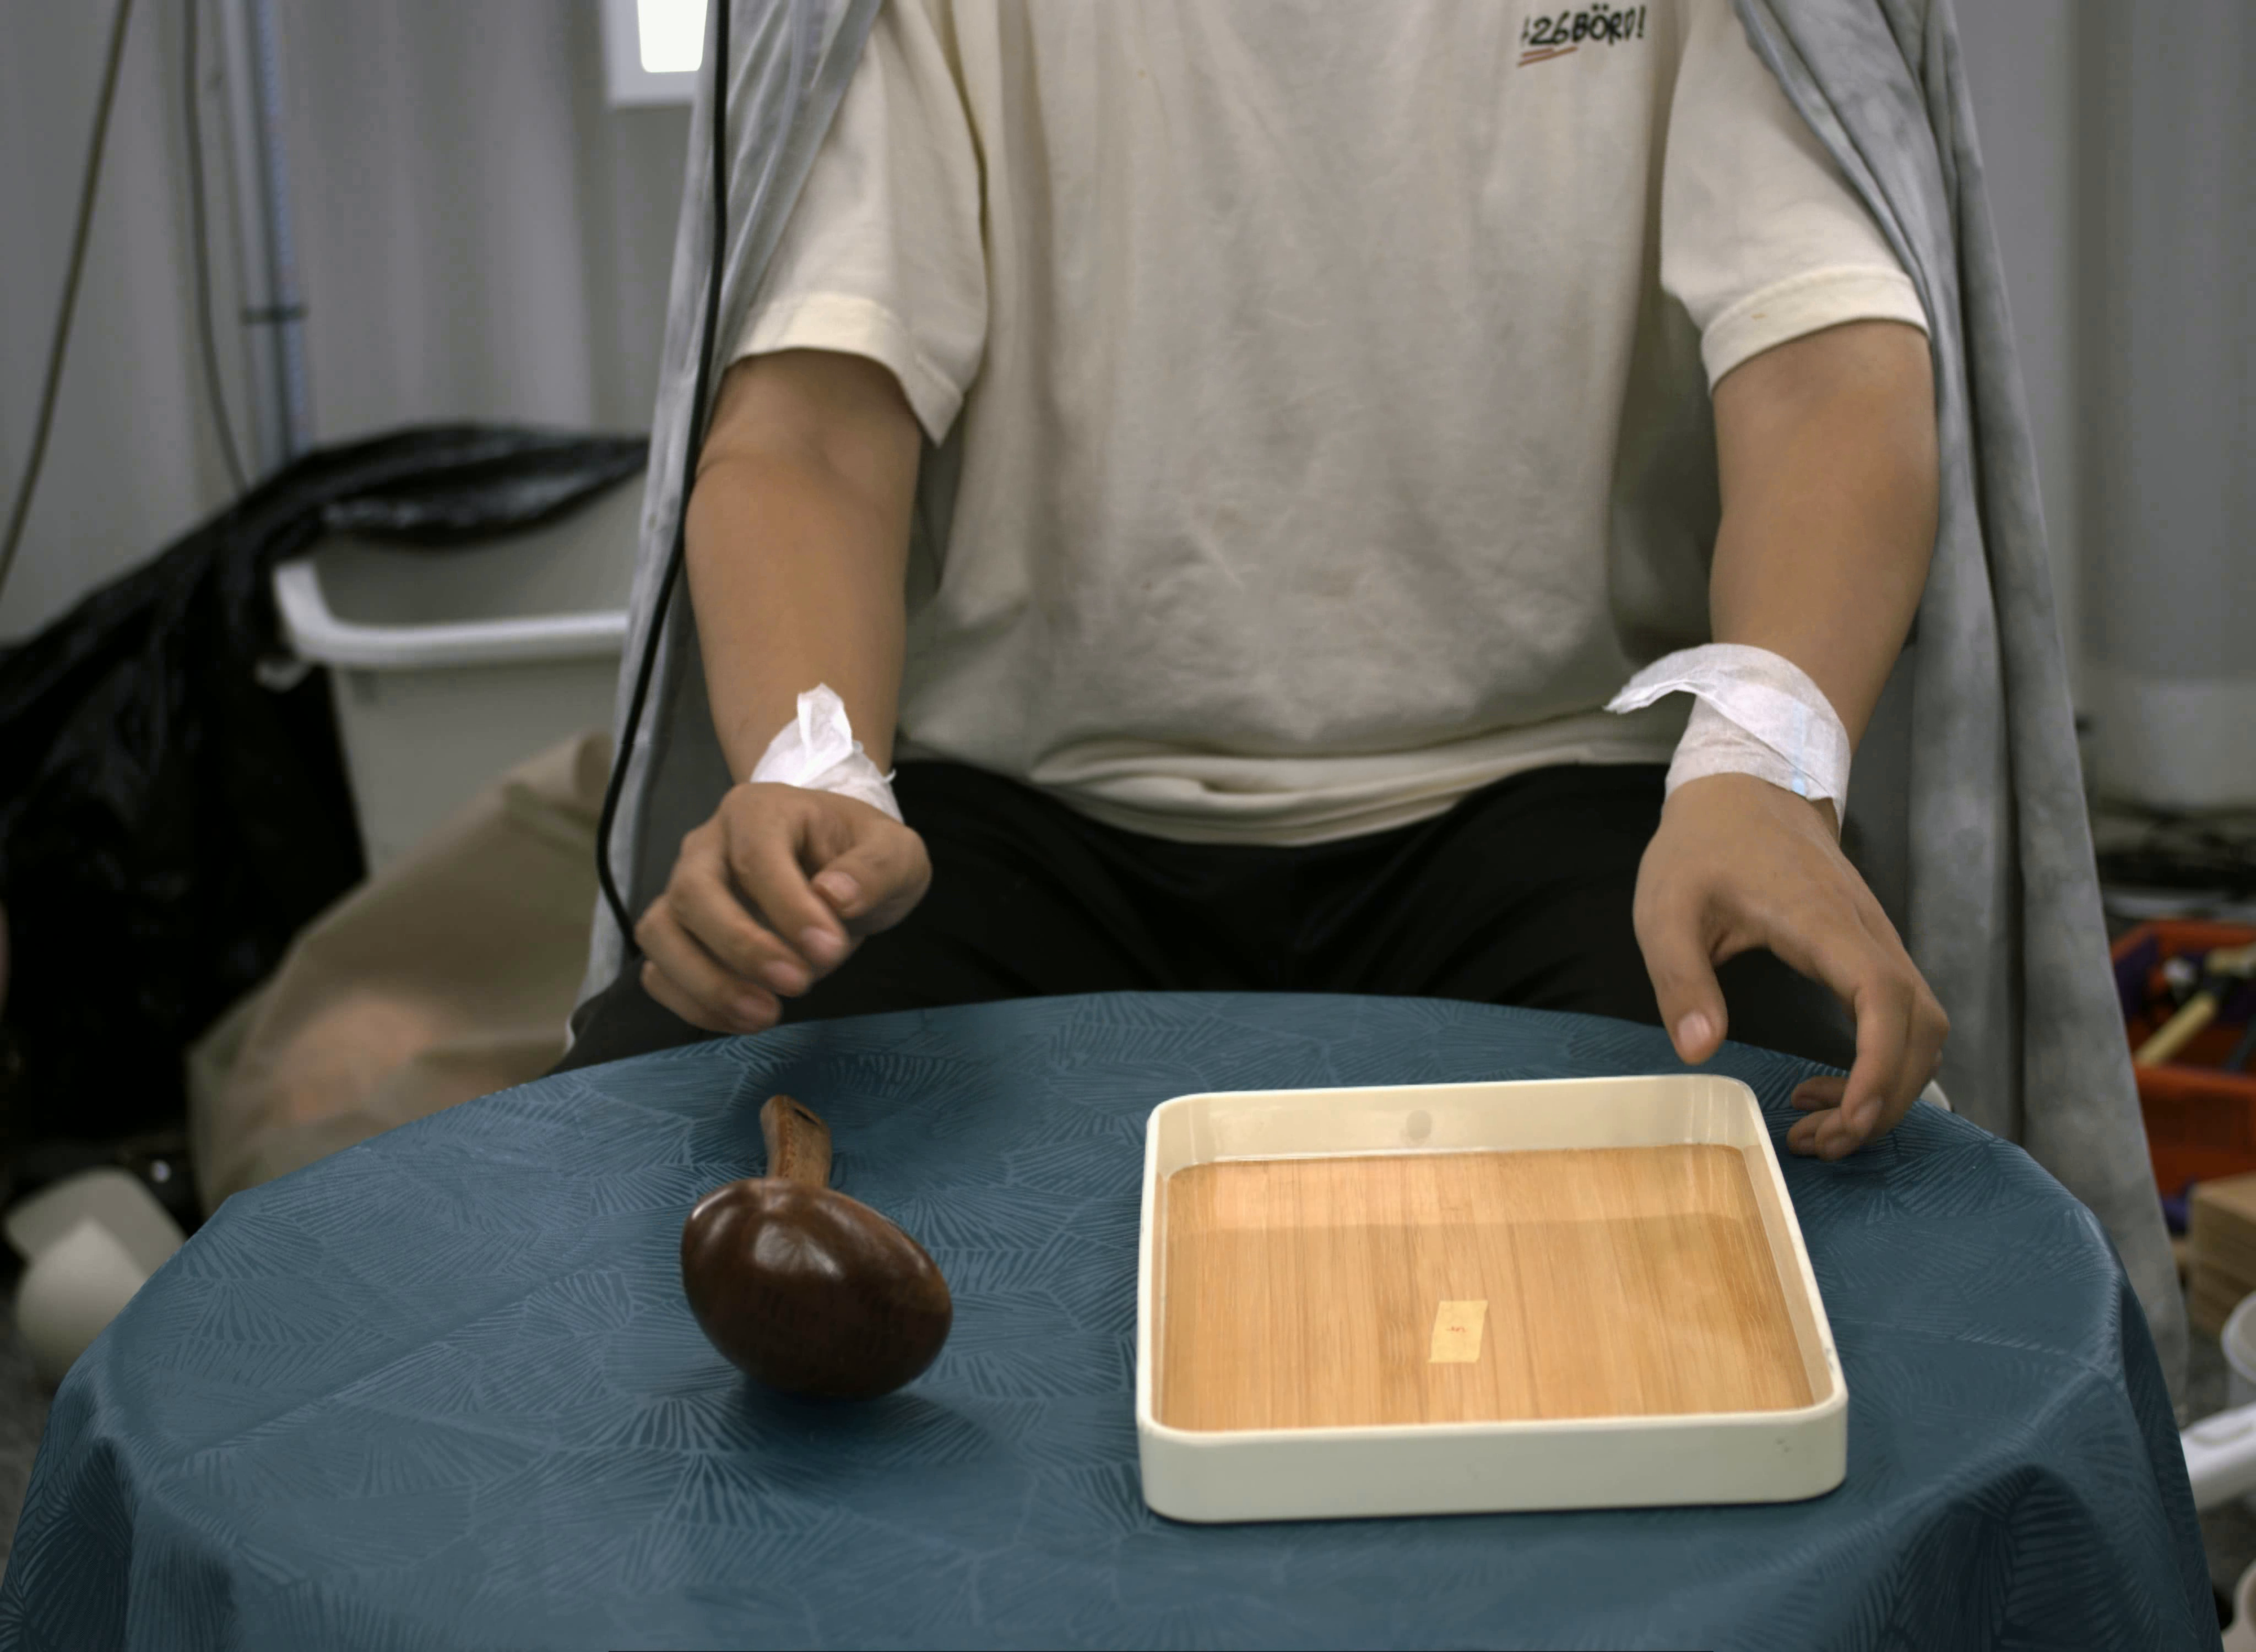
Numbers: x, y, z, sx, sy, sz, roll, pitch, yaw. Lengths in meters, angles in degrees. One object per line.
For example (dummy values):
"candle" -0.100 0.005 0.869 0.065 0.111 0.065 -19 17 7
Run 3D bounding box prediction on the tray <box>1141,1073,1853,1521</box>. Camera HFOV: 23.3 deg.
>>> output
"tray" 0.101 0.132 1.582 0.191 0.027 0.302 -2 15 2

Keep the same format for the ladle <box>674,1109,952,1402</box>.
"ladle" -0.090 0.106 1.636 0.081 0.076 0.276 35 12 -7
